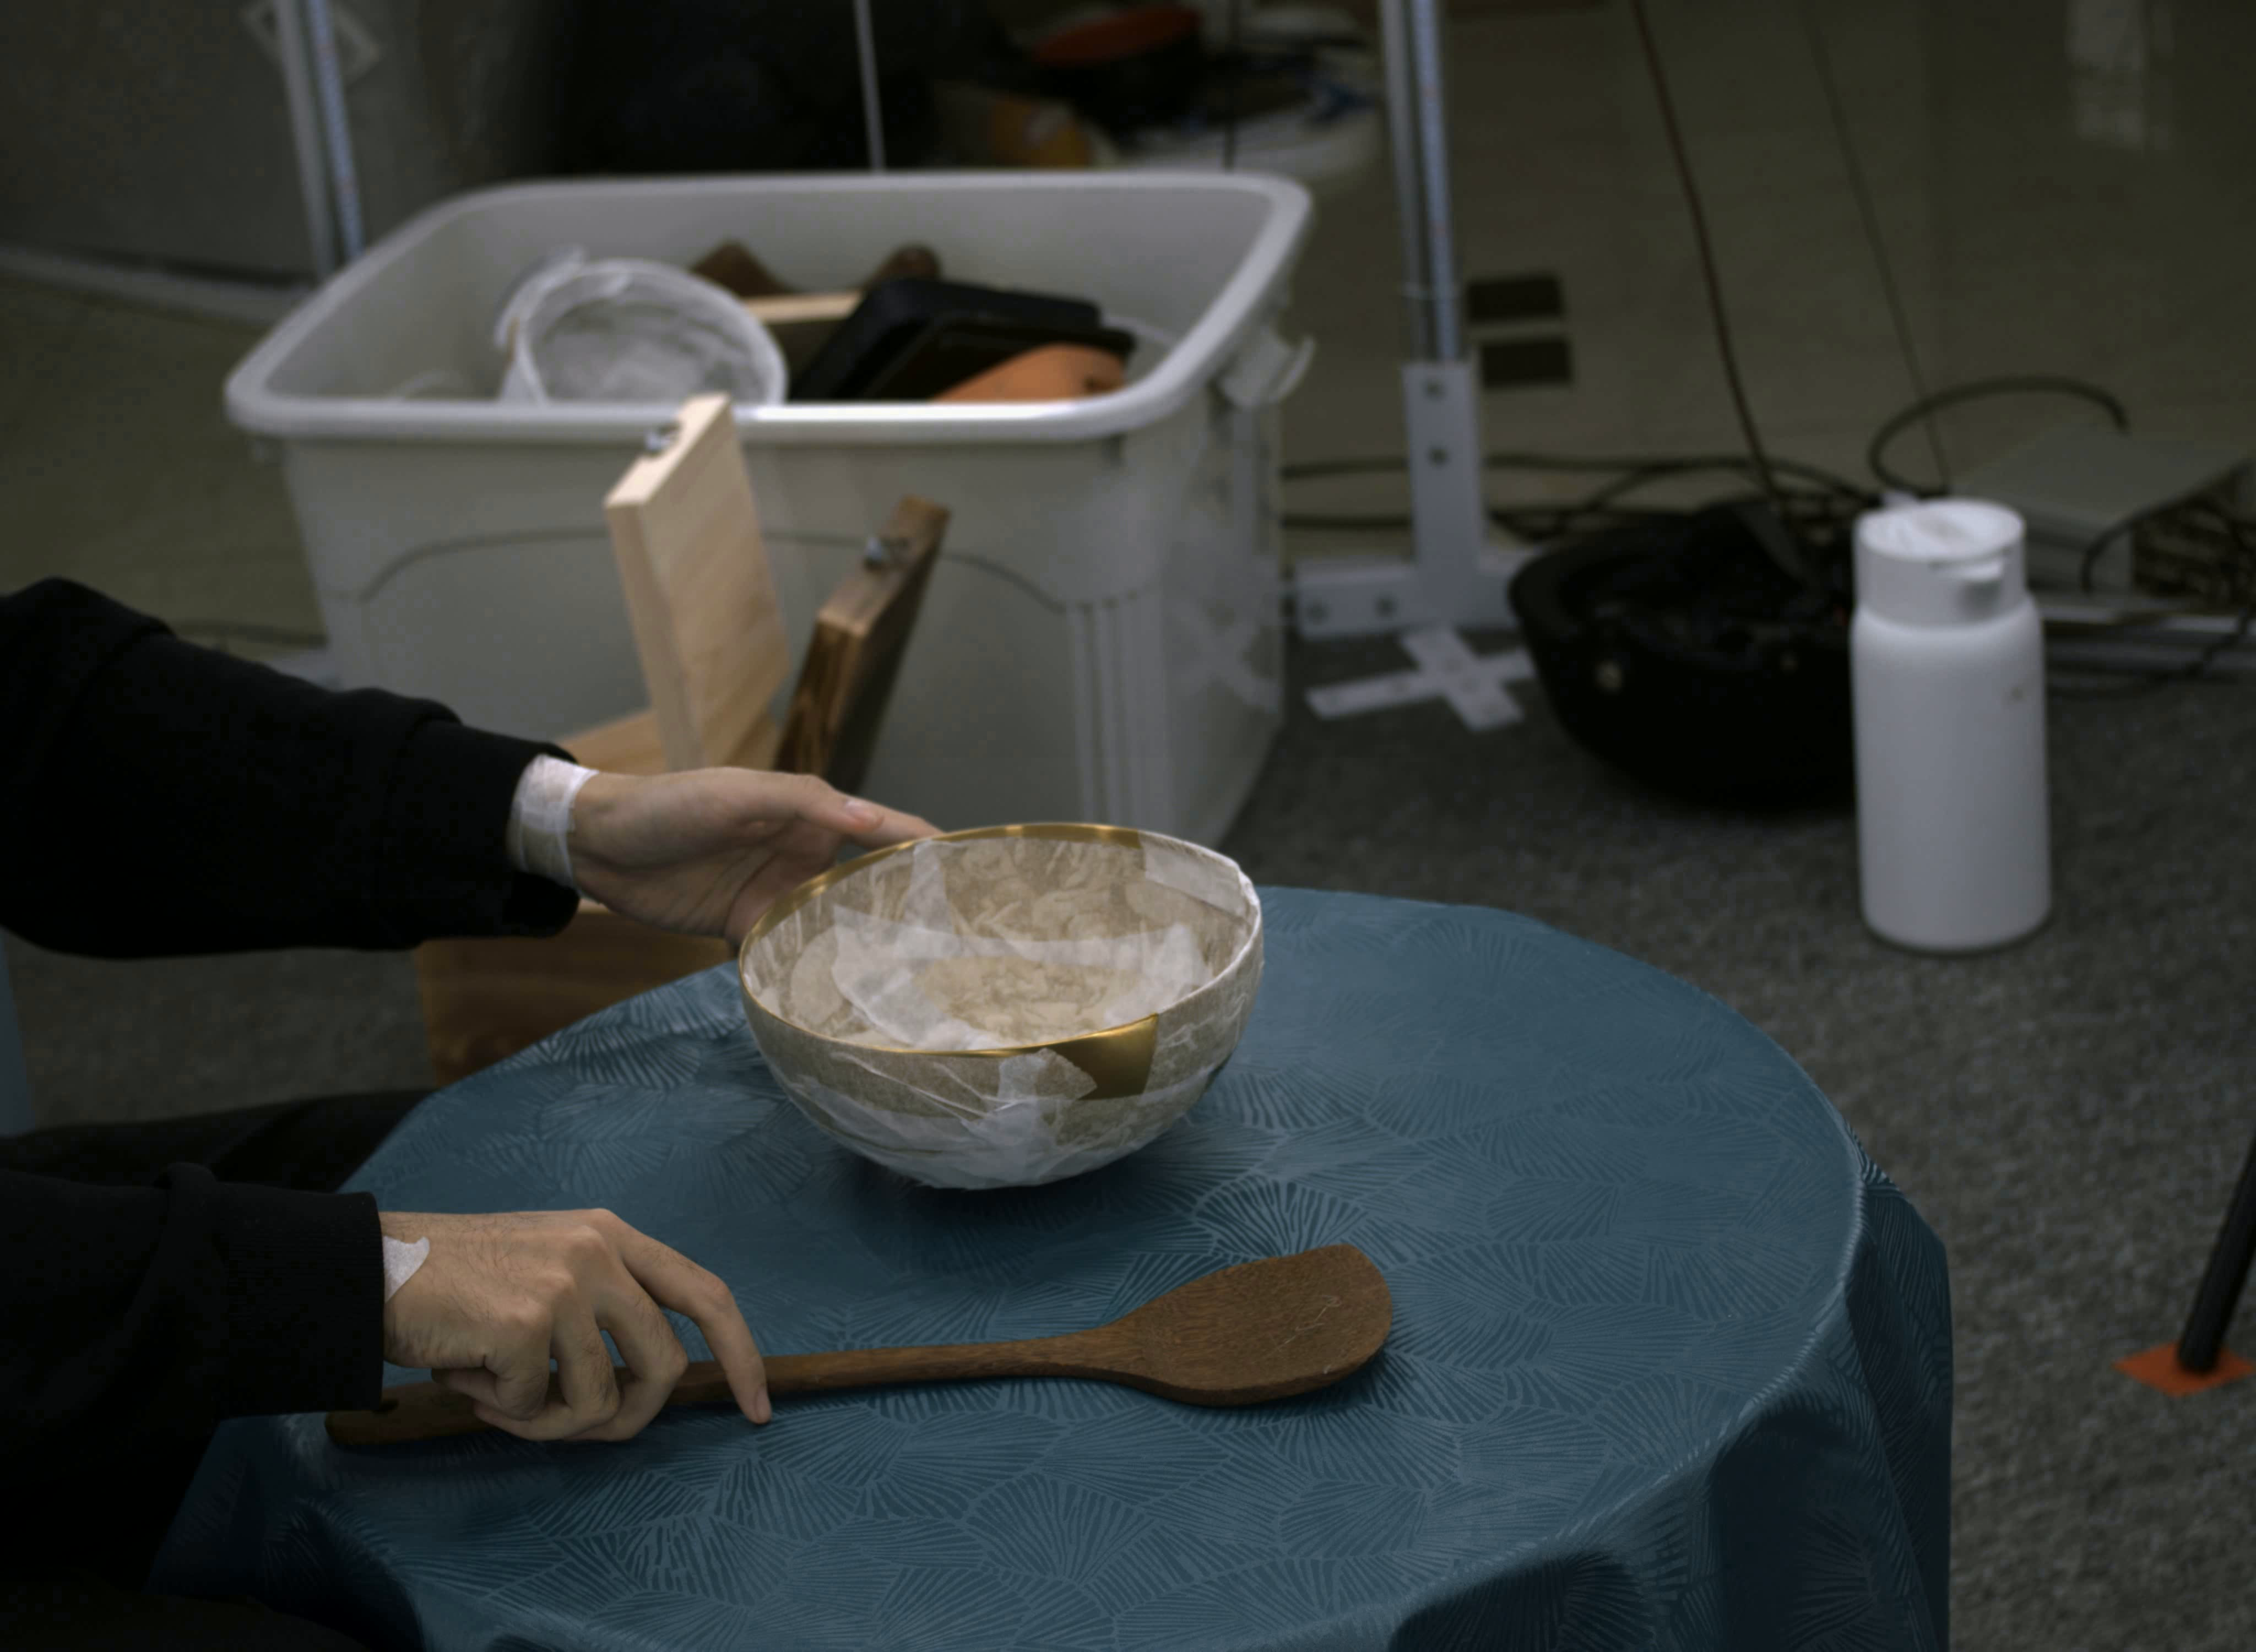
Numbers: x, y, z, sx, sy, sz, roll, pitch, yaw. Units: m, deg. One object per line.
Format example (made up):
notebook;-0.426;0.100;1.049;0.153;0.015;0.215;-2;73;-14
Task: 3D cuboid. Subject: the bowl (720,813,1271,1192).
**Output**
bowl;-0.046;0.080;2.179;0.214;0.096;0.211;-6;26;3

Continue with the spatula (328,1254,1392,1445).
spatula;-0.097;0.195;2.038;0.385;0.016;0.095;-5;24;1
